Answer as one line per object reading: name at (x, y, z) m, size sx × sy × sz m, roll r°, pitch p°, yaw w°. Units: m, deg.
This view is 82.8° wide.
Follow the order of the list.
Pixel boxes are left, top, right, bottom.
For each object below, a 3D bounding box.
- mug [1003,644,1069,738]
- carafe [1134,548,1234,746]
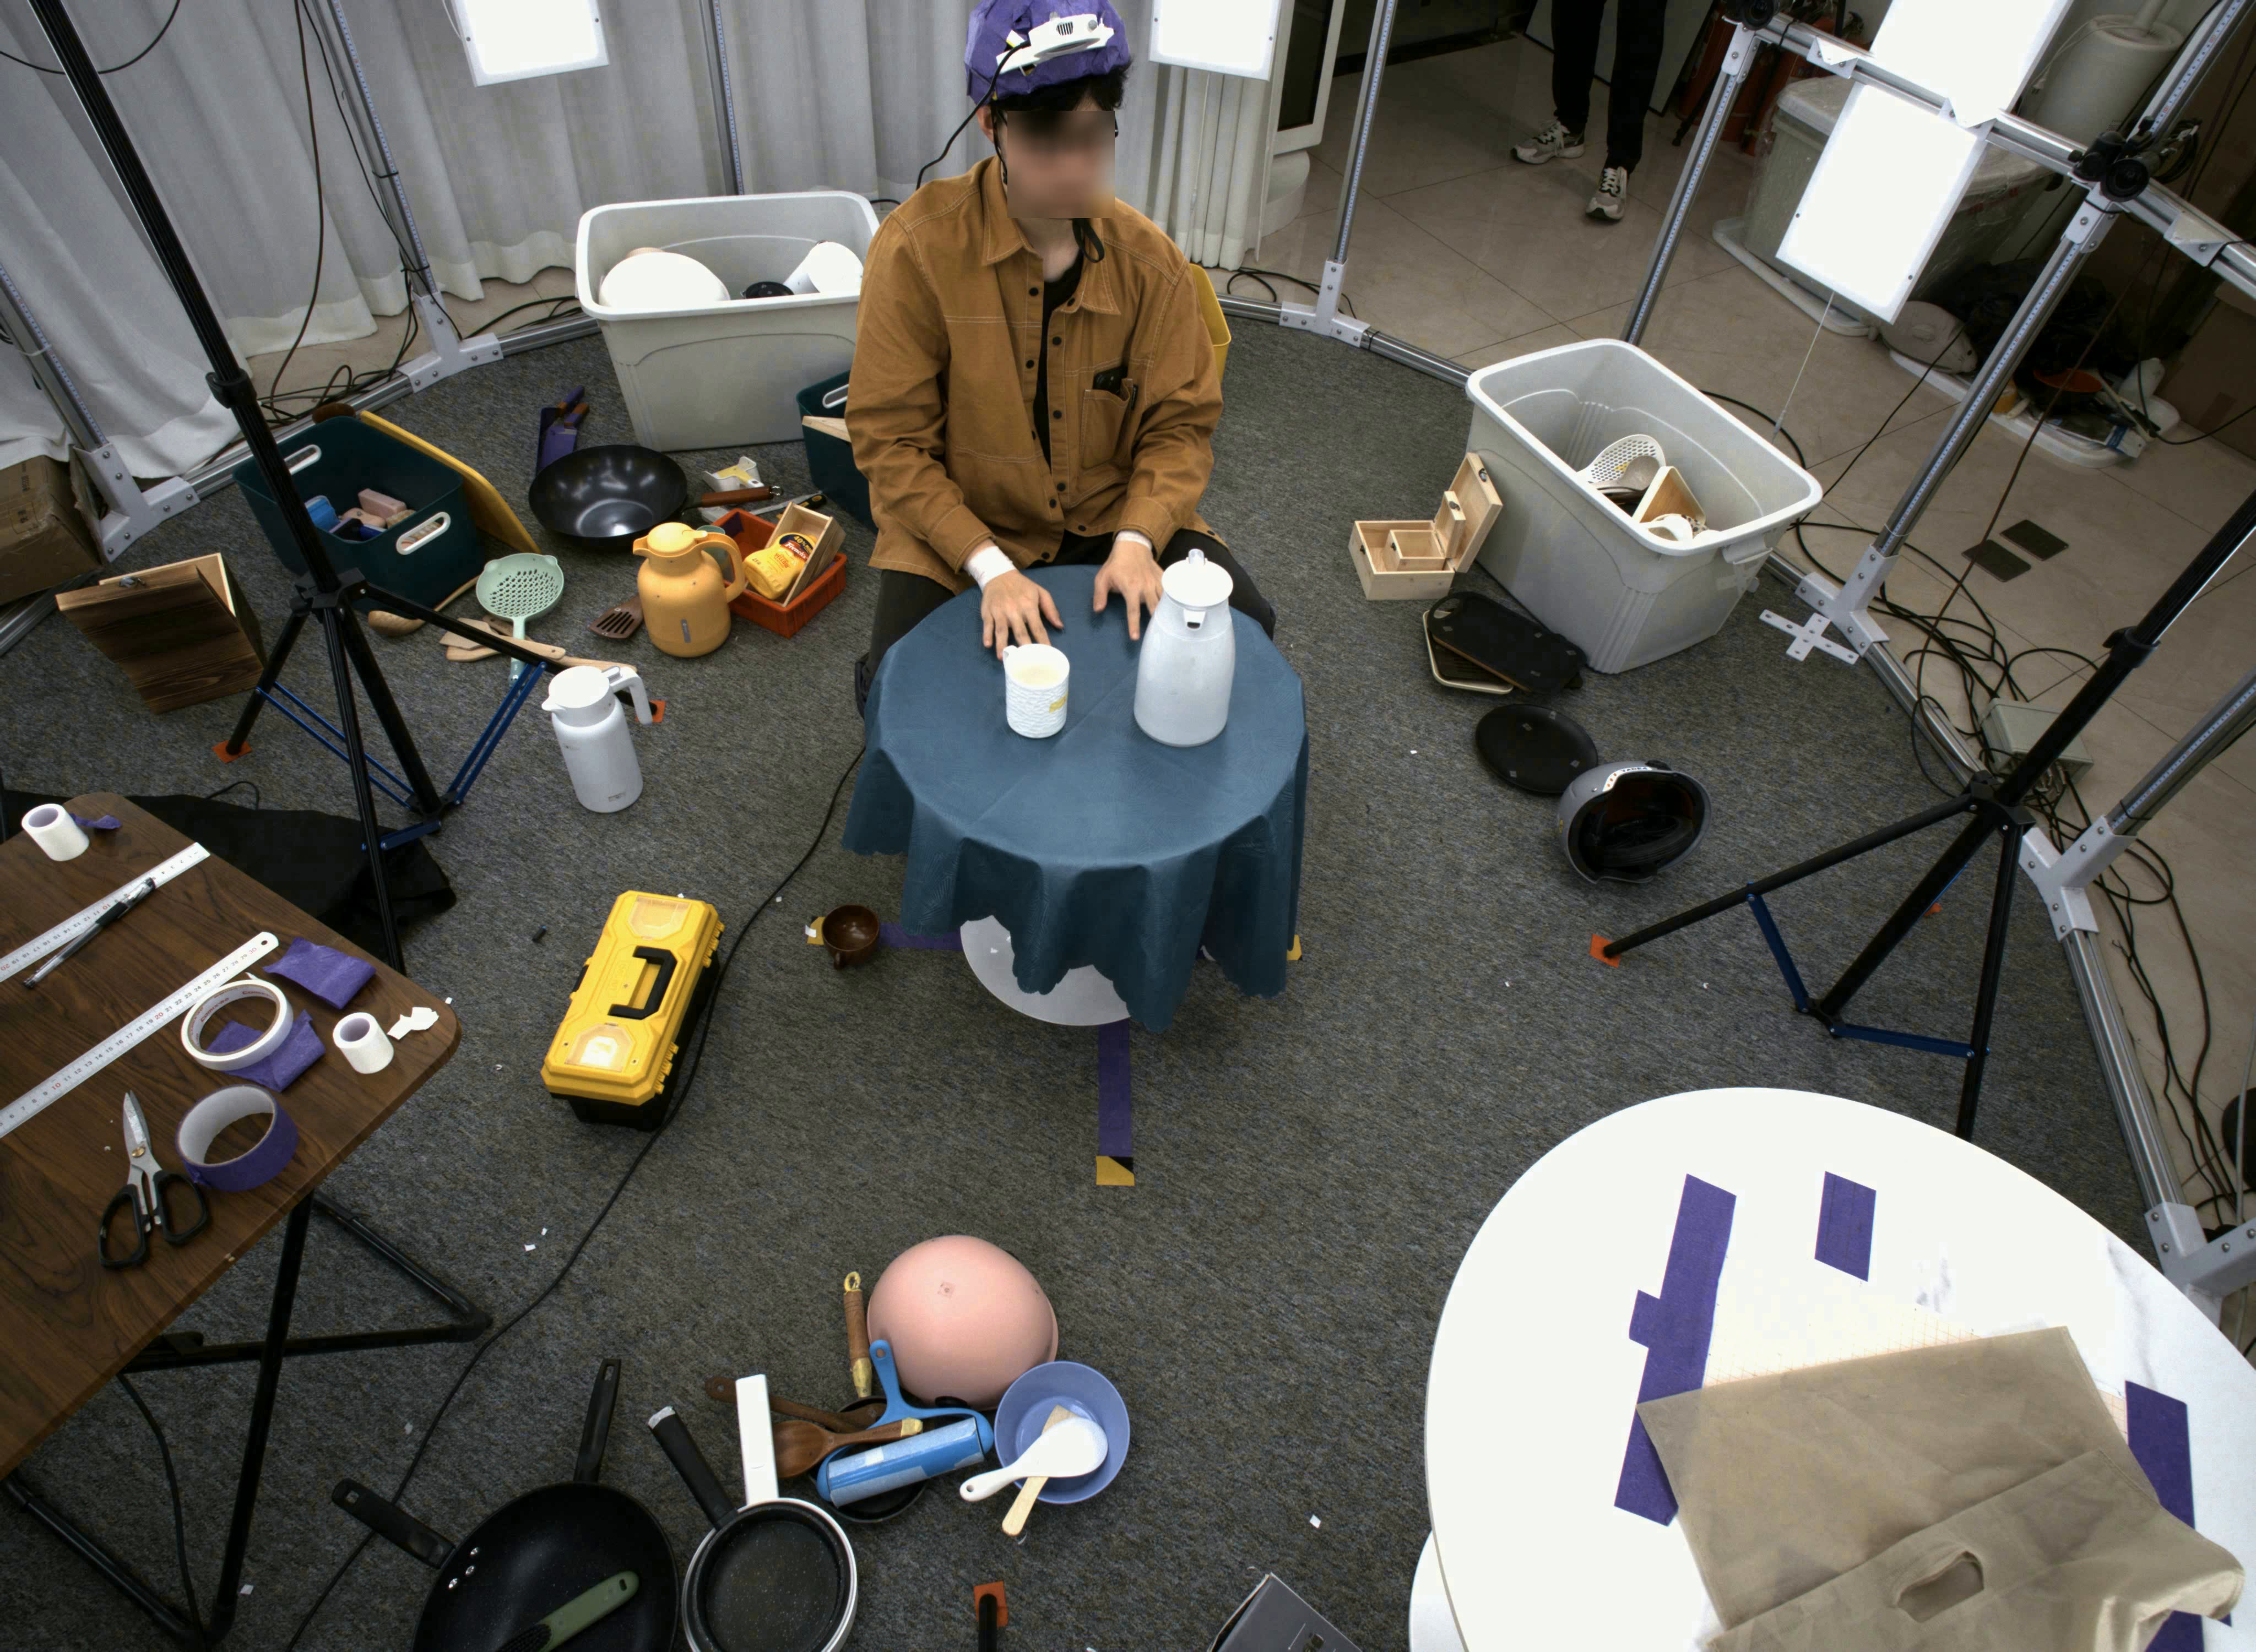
mug at (-0.134, -0.193, 1.762) m, size 0.085 × 0.099 × 0.120 m, roll -28°, pitch 57°, yaw -25°
carafe at (0.080, -0.252, 1.733) m, size 0.132 × 0.242 × 0.172 m, roll 4°, pitch 49°, yaw 0°
